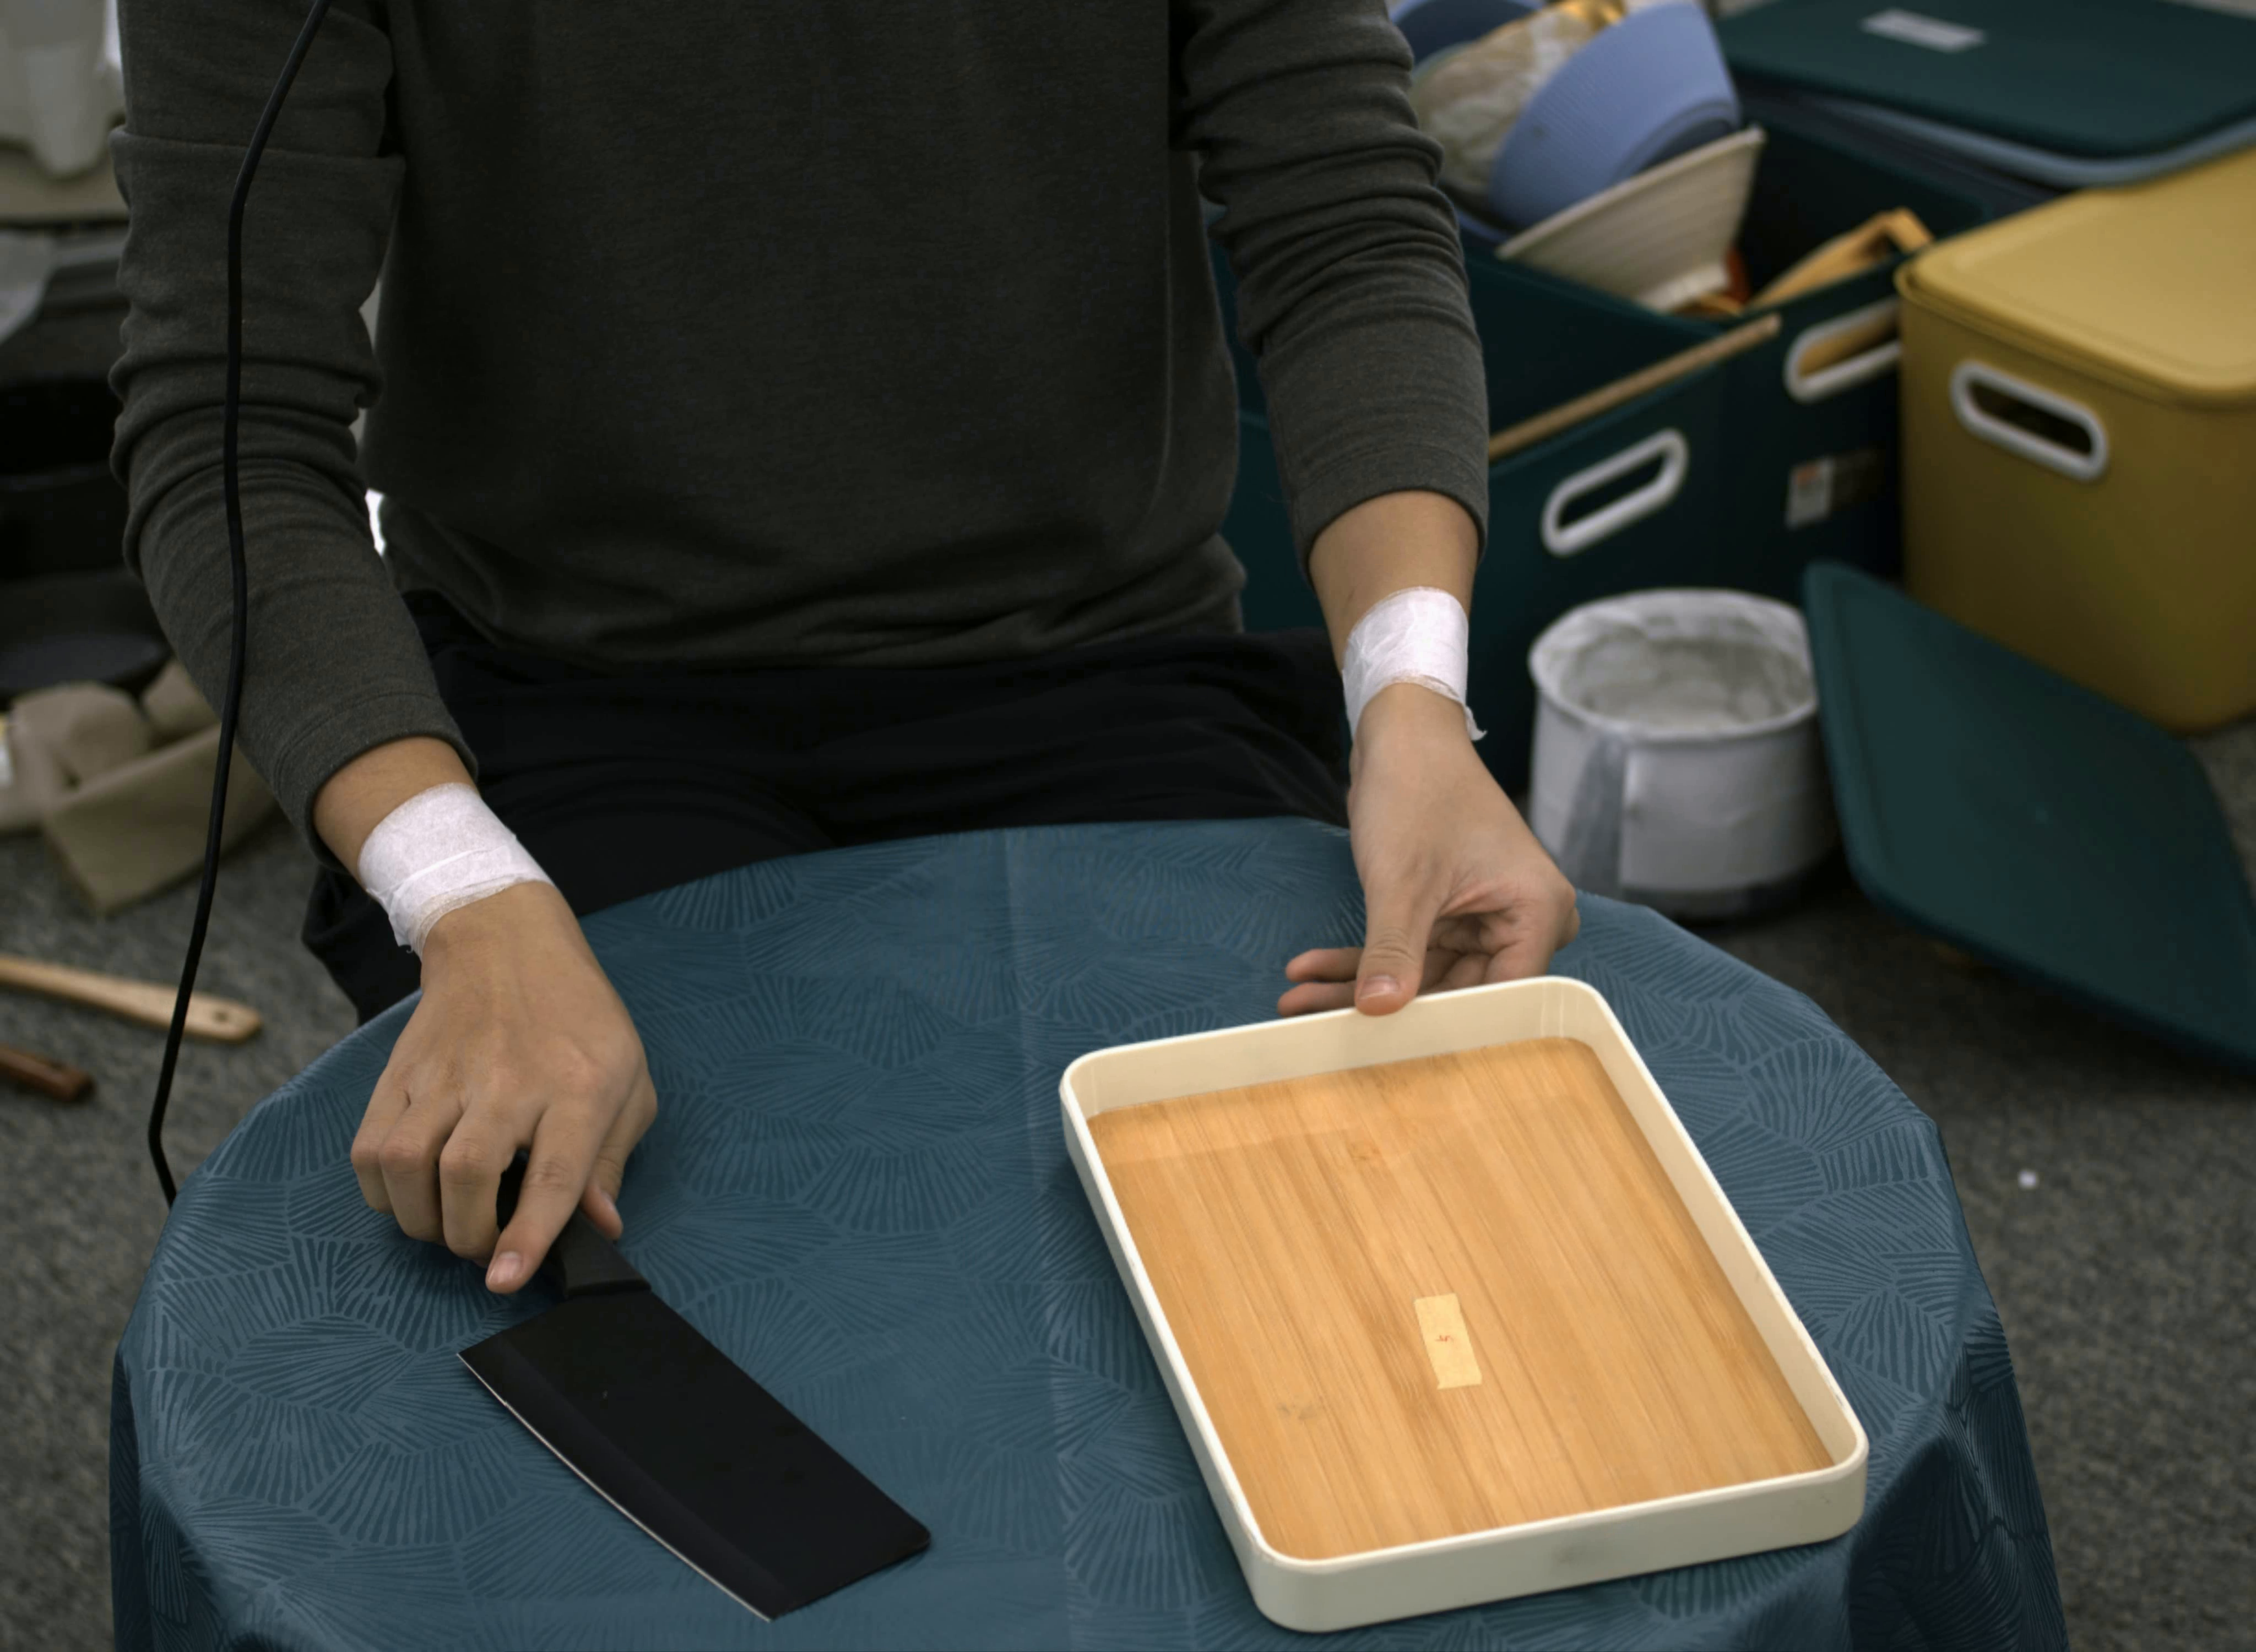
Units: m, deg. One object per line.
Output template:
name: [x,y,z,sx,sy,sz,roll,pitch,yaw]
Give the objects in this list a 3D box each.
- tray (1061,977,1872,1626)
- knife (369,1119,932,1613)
tray: [0.099,0.143,1.771,0.191,0.027,0.304,-8,29,-10]
knife: [-0.166,0.167,1.775,0.081,0.020,0.303,-19,33,-25]
